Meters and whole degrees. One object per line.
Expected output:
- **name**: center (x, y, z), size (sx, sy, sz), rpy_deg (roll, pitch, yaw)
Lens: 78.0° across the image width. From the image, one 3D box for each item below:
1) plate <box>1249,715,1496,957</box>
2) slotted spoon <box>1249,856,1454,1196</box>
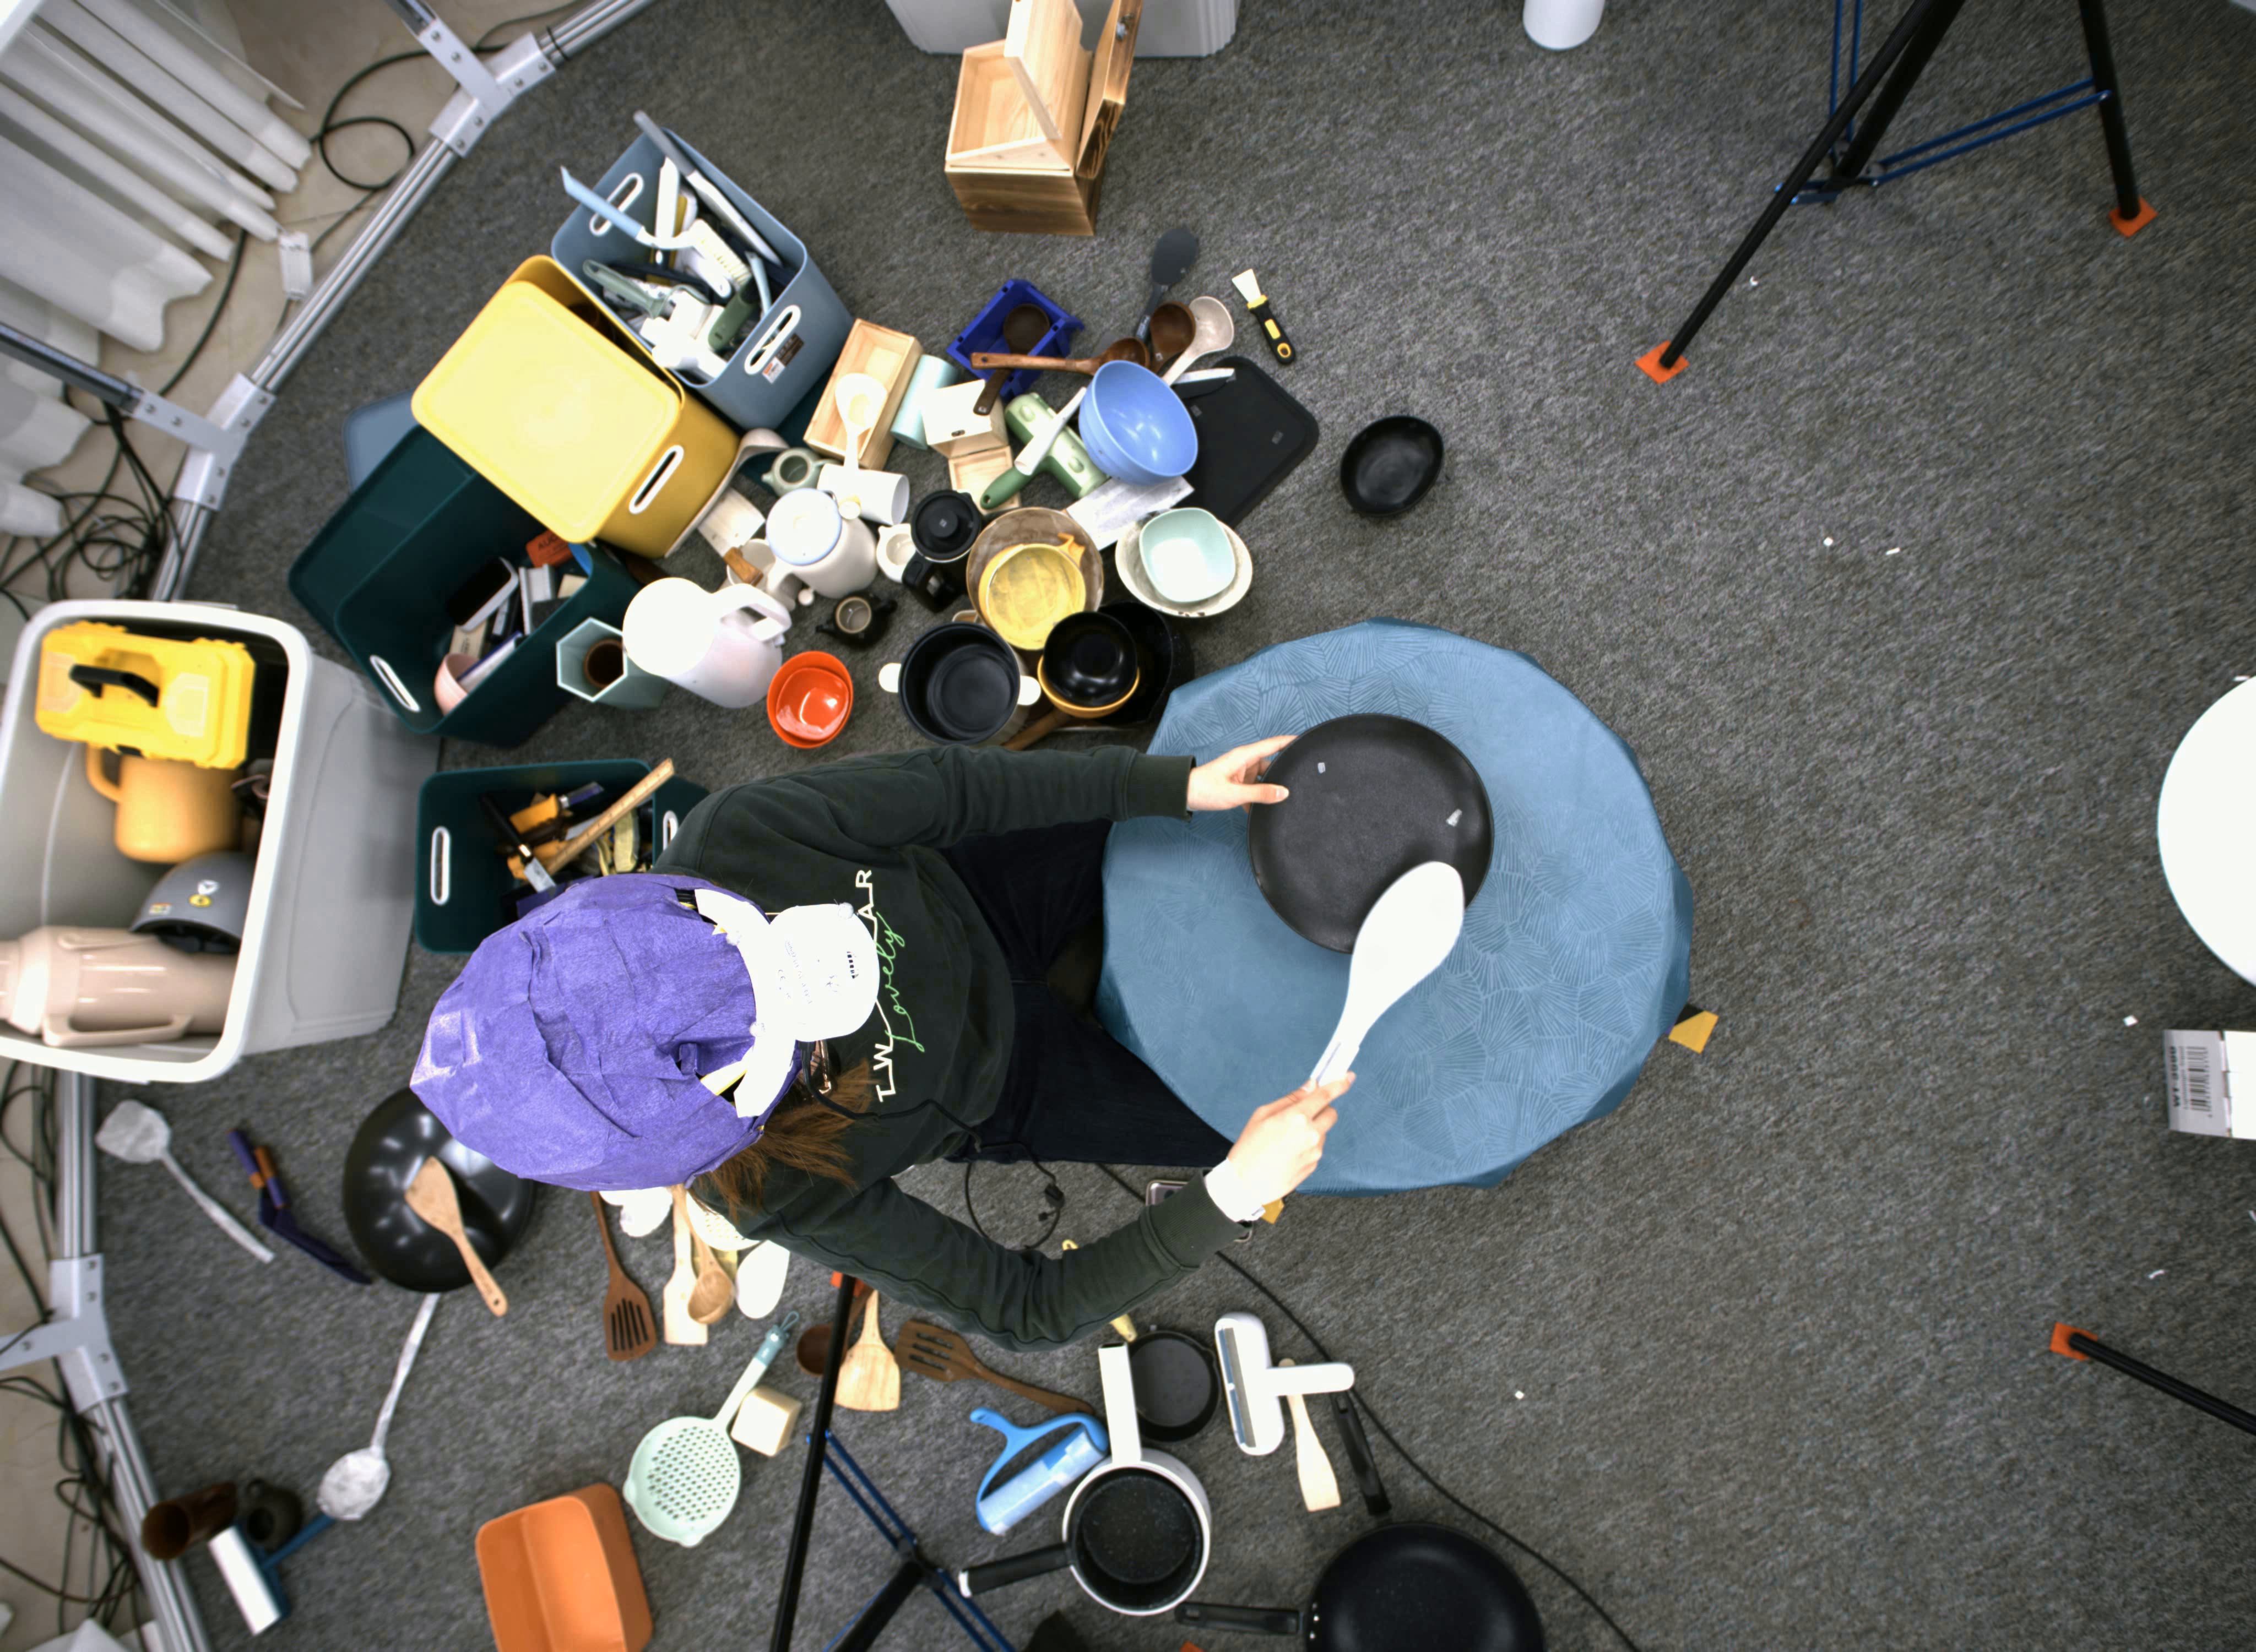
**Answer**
- **plate**: center (0.242, 0.009, 1.376), size (0.245, 0.023, 0.246), rpy_deg (1, 100, 7)
- **slotted spoon**: center (0.204, 0.180, 1.267), size (0.046, 0.136, 0.346), rpy_deg (37, 80, -14)
